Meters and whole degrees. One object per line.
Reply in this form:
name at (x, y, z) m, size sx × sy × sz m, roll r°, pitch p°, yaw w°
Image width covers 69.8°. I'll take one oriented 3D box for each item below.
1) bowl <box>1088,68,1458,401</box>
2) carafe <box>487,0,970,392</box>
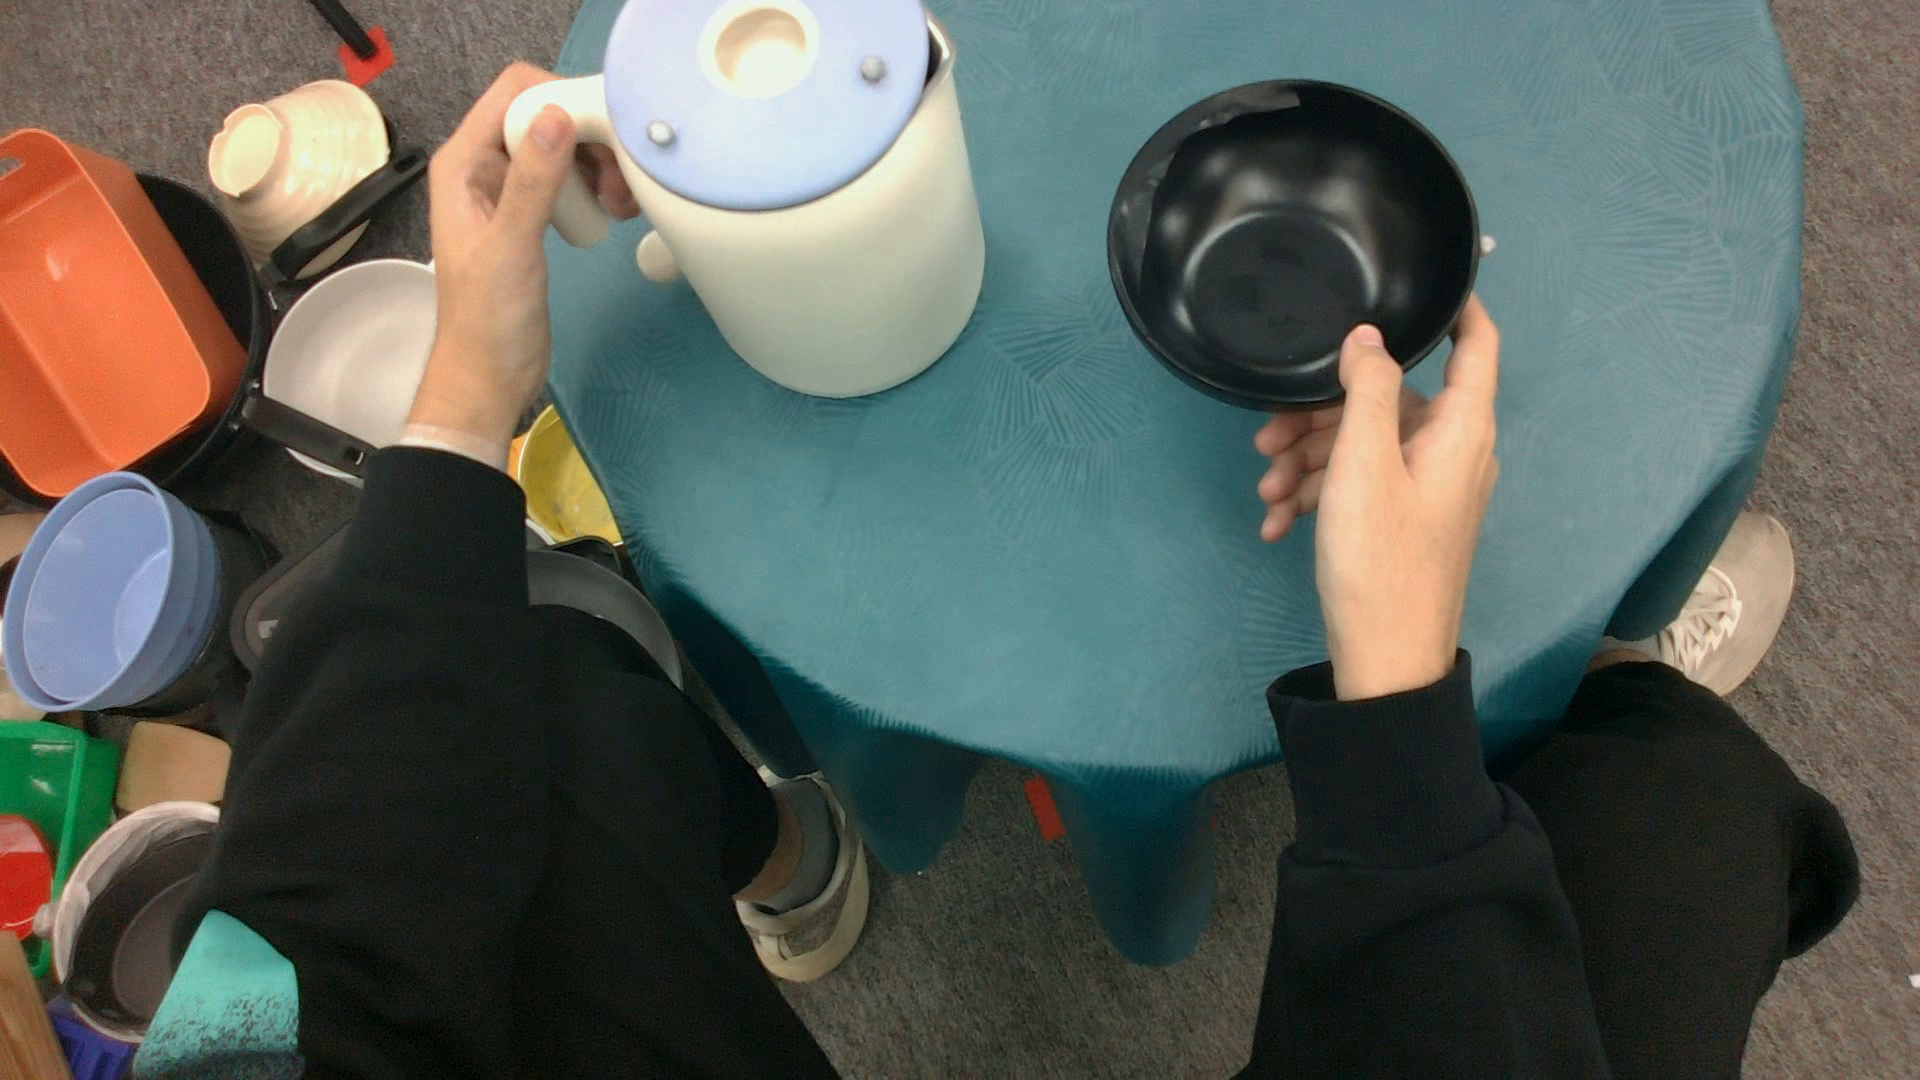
bowl at (0.120, -0.114, 0.546) m, size 0.140 × 0.049 × 0.140 m, roll -1°, pitch 74°, yaw 4°
carafe at (-0.093, -0.150, 0.575) m, size 0.191 × 0.182 × 0.132 m, roll -4°, pitch 72°, yaw 7°
